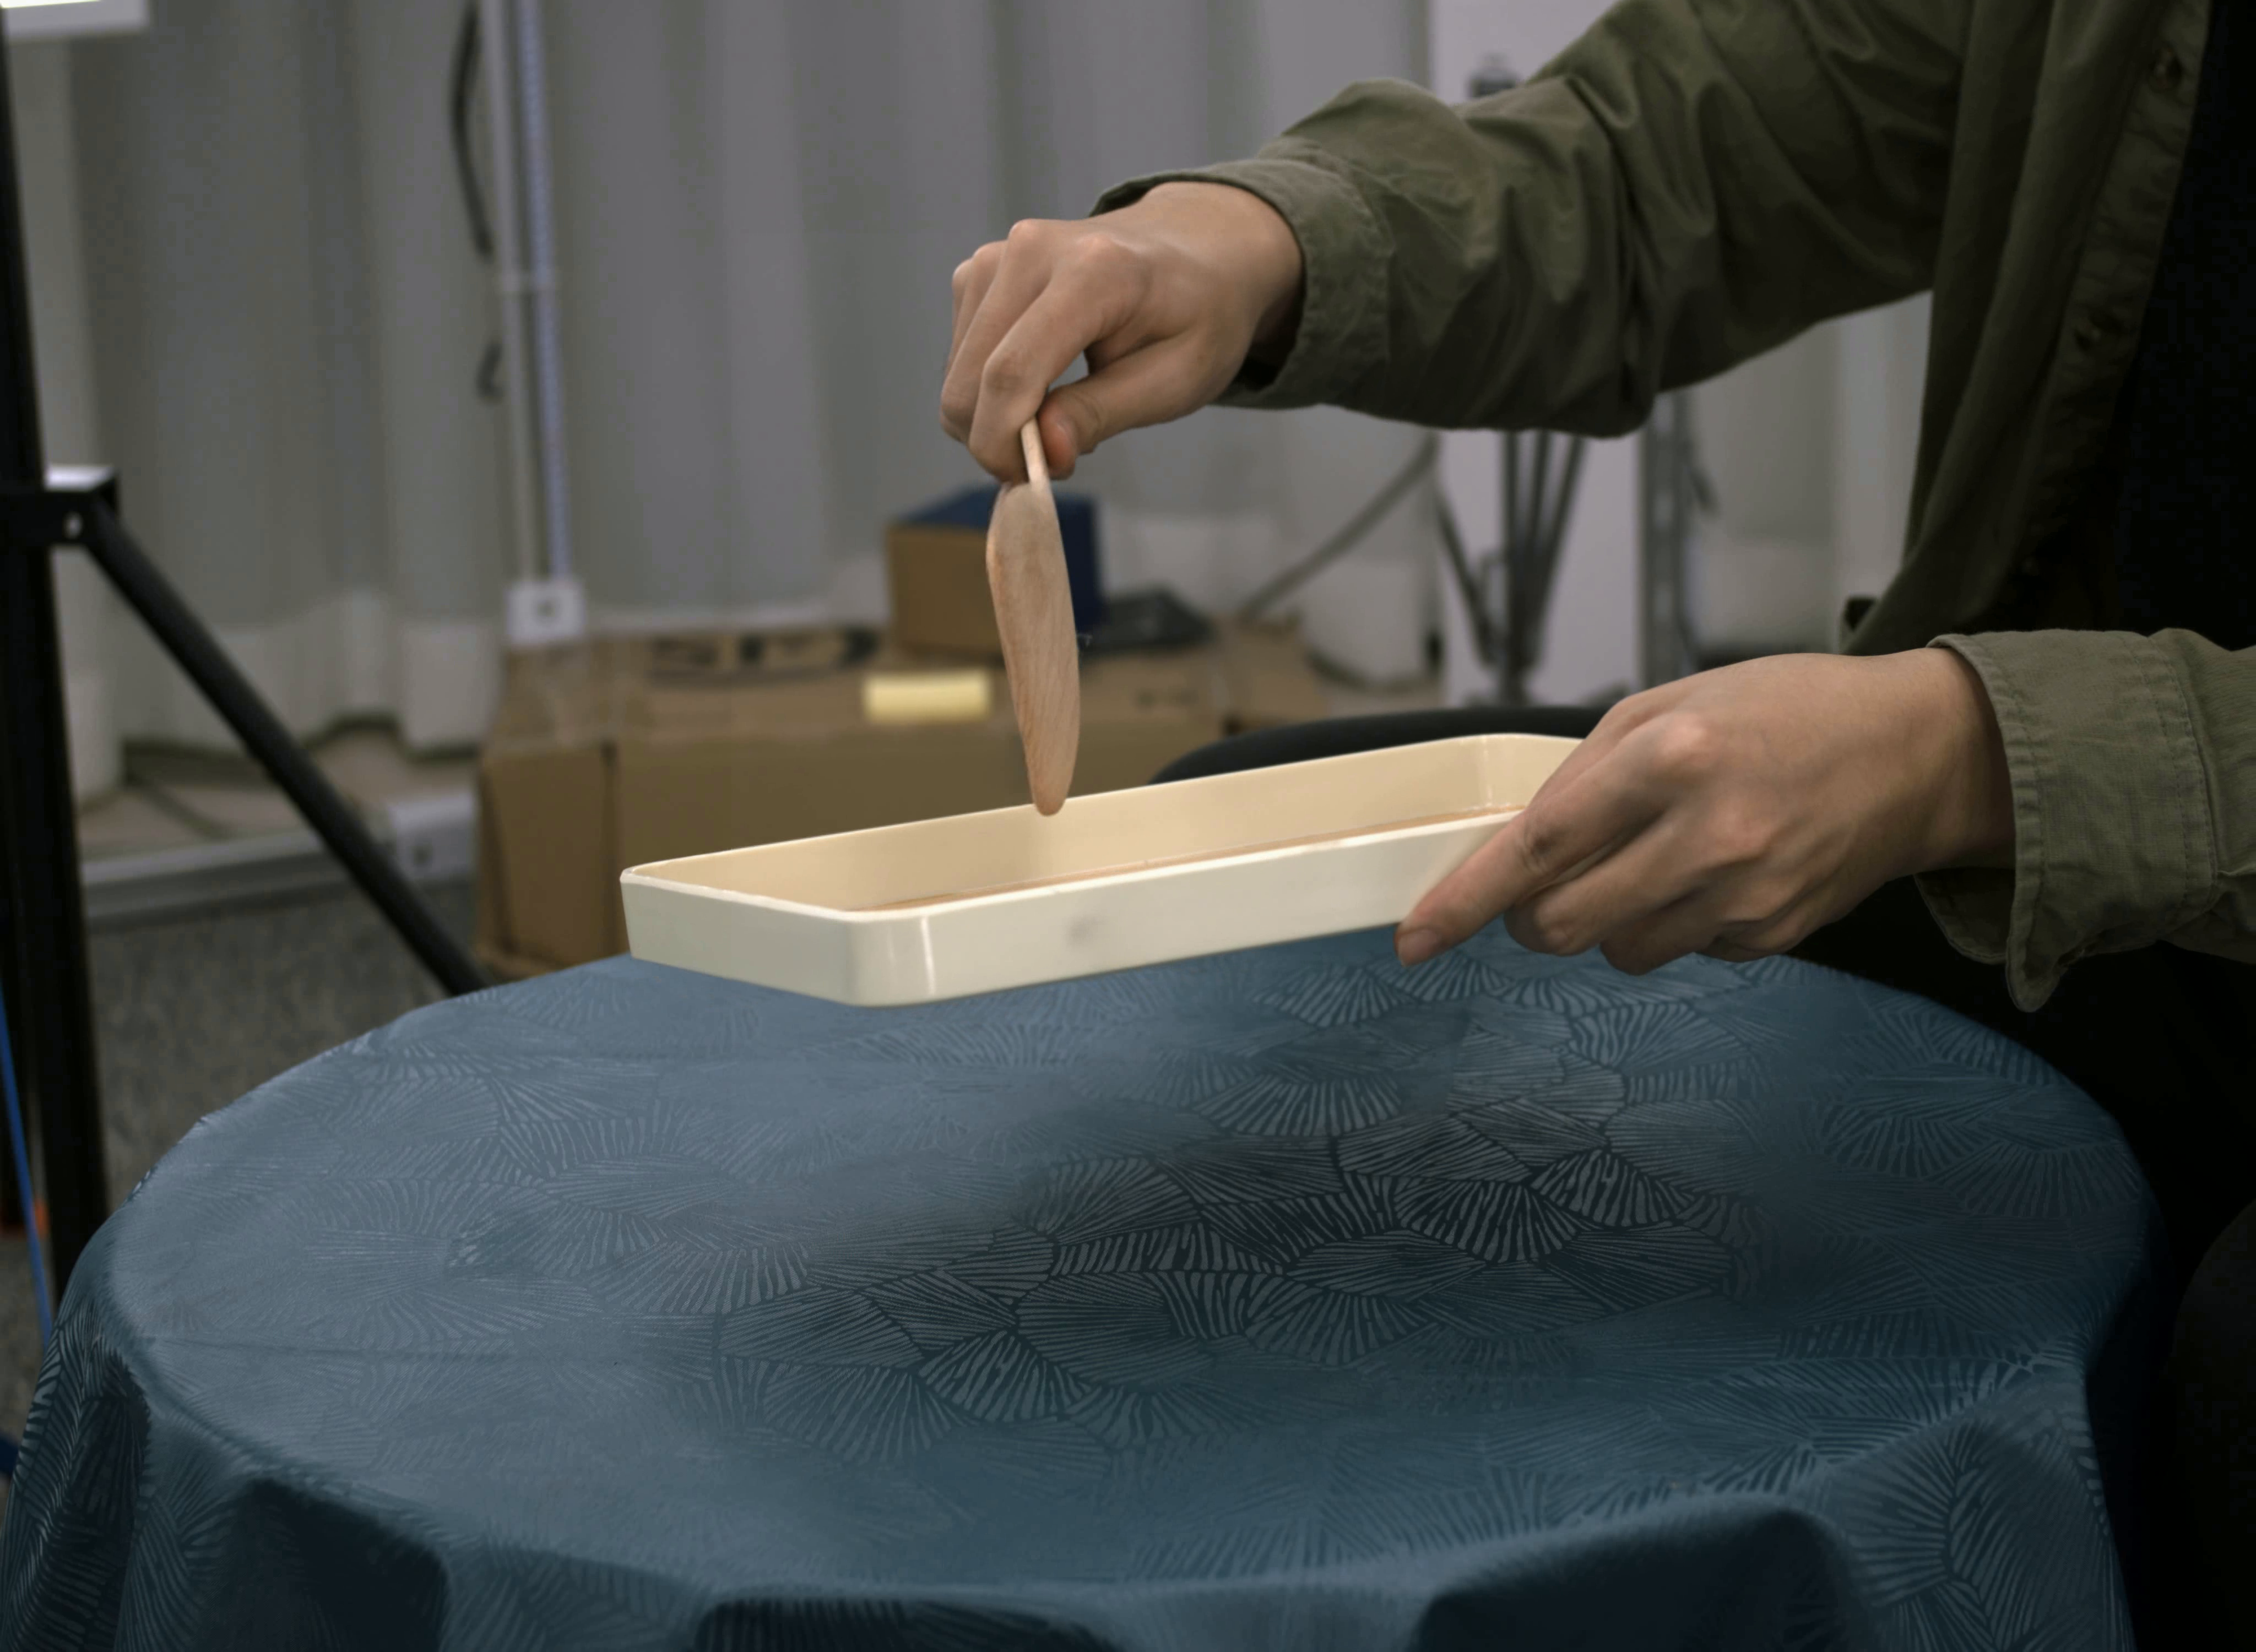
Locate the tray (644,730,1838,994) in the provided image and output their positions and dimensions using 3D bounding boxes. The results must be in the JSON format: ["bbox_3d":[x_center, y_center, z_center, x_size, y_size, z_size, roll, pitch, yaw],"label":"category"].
[{"bbox_3d":[0.031,0.008,1.505,0.294,0.027,0.195,-7,8,-24],"label":"tray"}]

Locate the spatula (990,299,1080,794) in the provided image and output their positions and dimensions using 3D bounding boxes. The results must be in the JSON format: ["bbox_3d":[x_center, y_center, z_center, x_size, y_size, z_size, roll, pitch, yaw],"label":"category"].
[{"bbox_3d":[-0.029,-0.102,1.590,0.016,0.079,0.330,-13,21,3],"label":"spatula"}]
